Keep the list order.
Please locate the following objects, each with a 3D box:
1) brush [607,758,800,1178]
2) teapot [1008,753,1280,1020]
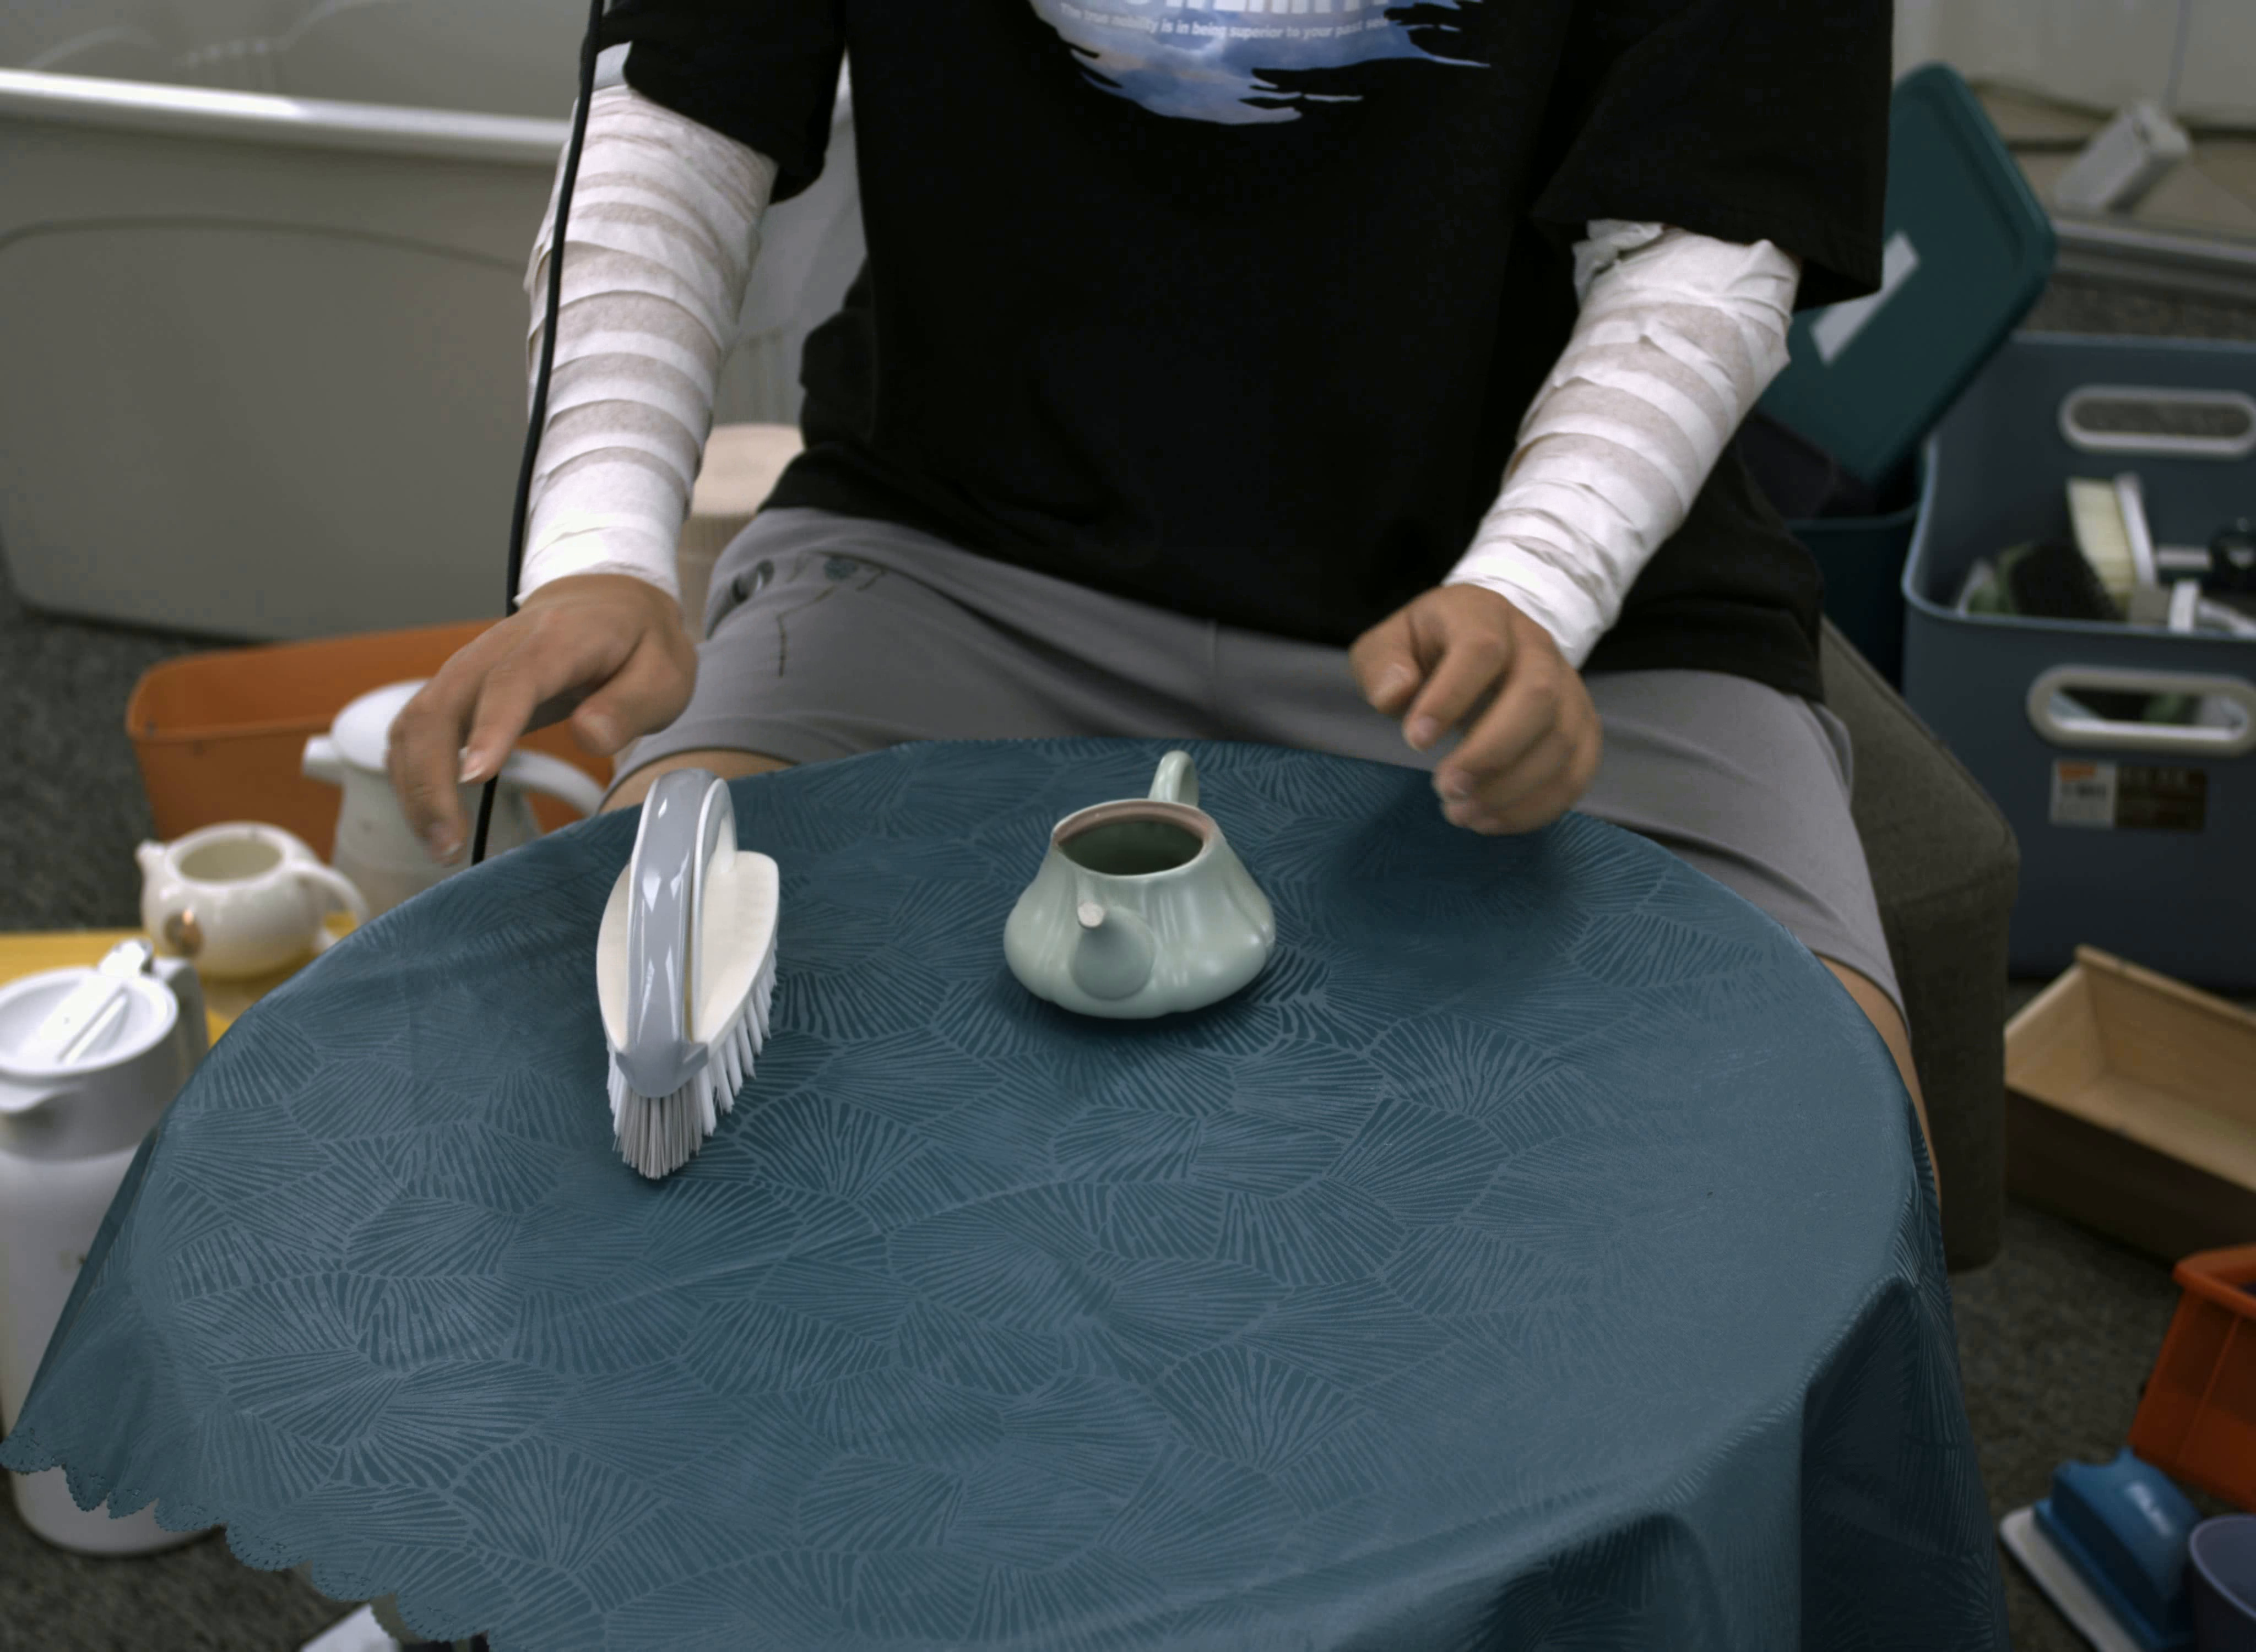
[{"bbox_3d":[-0.152,0.041,1.936,0.061,0.093,0.178,-4,28,6],"label":"brush"},{"bbox_3d":[0.005,0.026,1.981,0.095,0.061,0.139,1,27,13],"label":"teapot"}]
